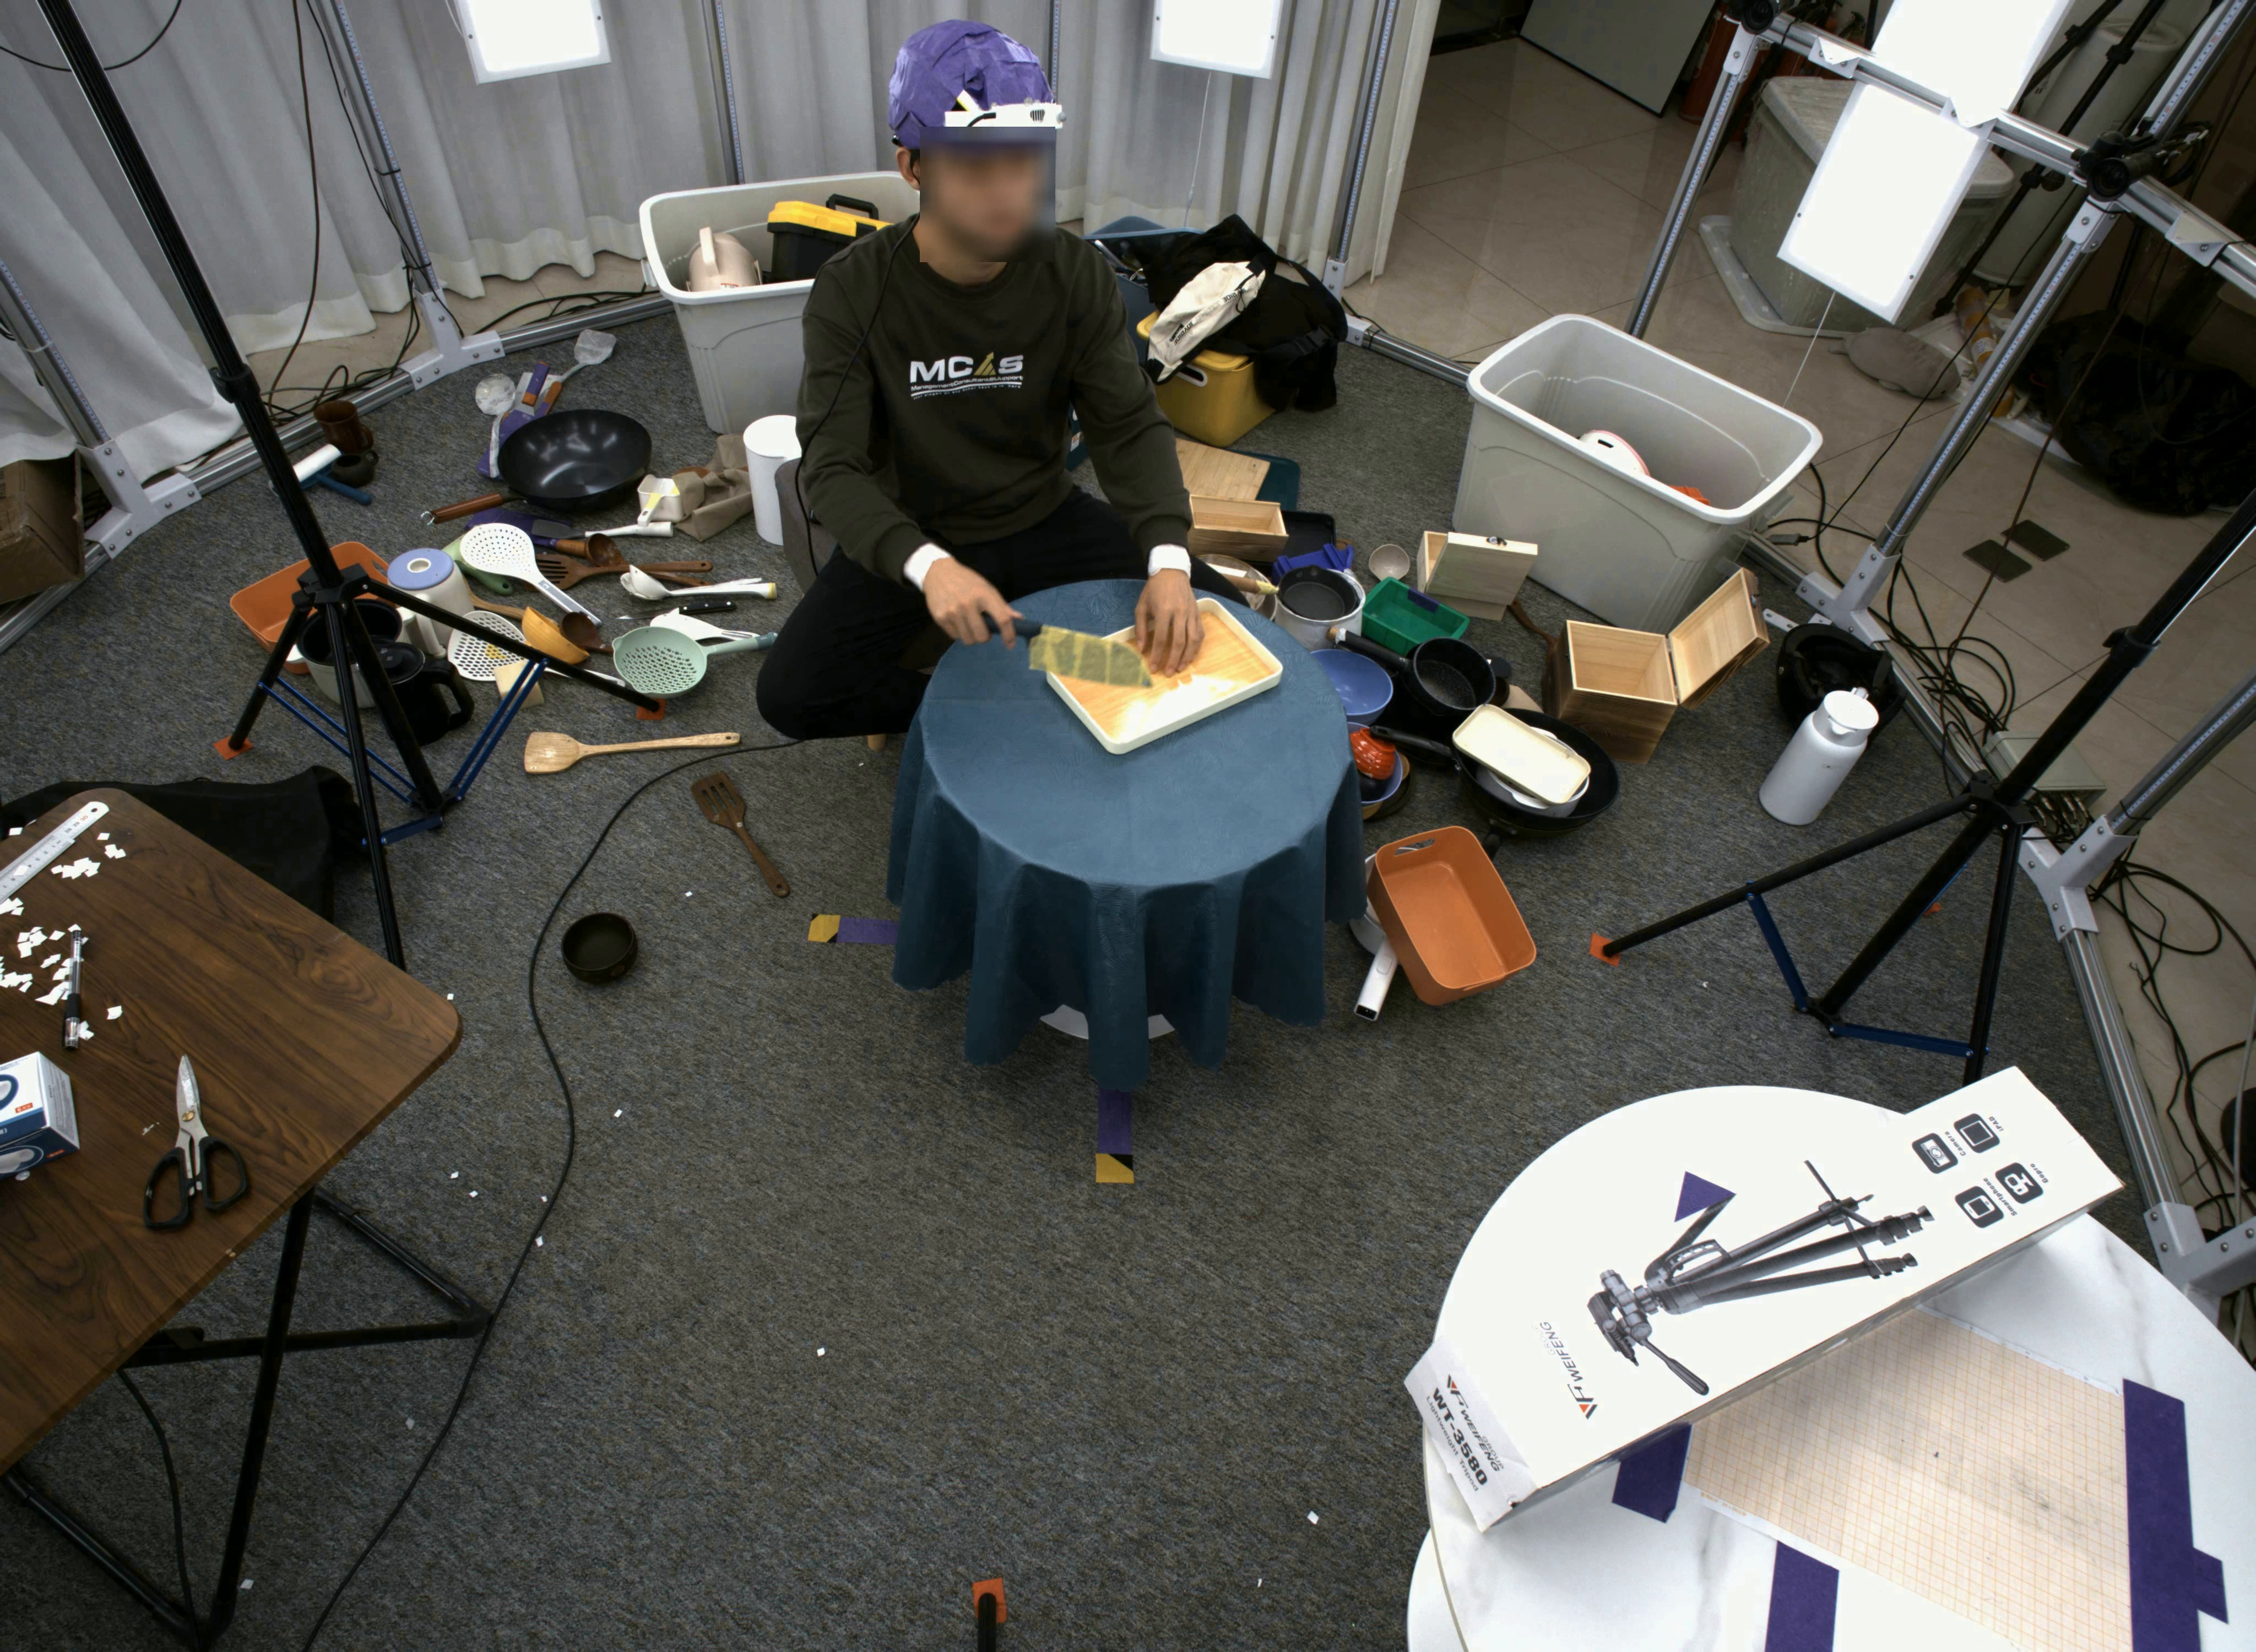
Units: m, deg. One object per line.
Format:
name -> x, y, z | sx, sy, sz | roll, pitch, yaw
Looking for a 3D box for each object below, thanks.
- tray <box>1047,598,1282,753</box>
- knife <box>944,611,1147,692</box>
tray -> 0.053, -0.222, 1.846 | 0.301, 0.027, 0.195 | -25, 54, -23
knife -> -0.110, -0.233, 1.715 | 0.290, 0.079, 0.028 | 17, 36, 11
